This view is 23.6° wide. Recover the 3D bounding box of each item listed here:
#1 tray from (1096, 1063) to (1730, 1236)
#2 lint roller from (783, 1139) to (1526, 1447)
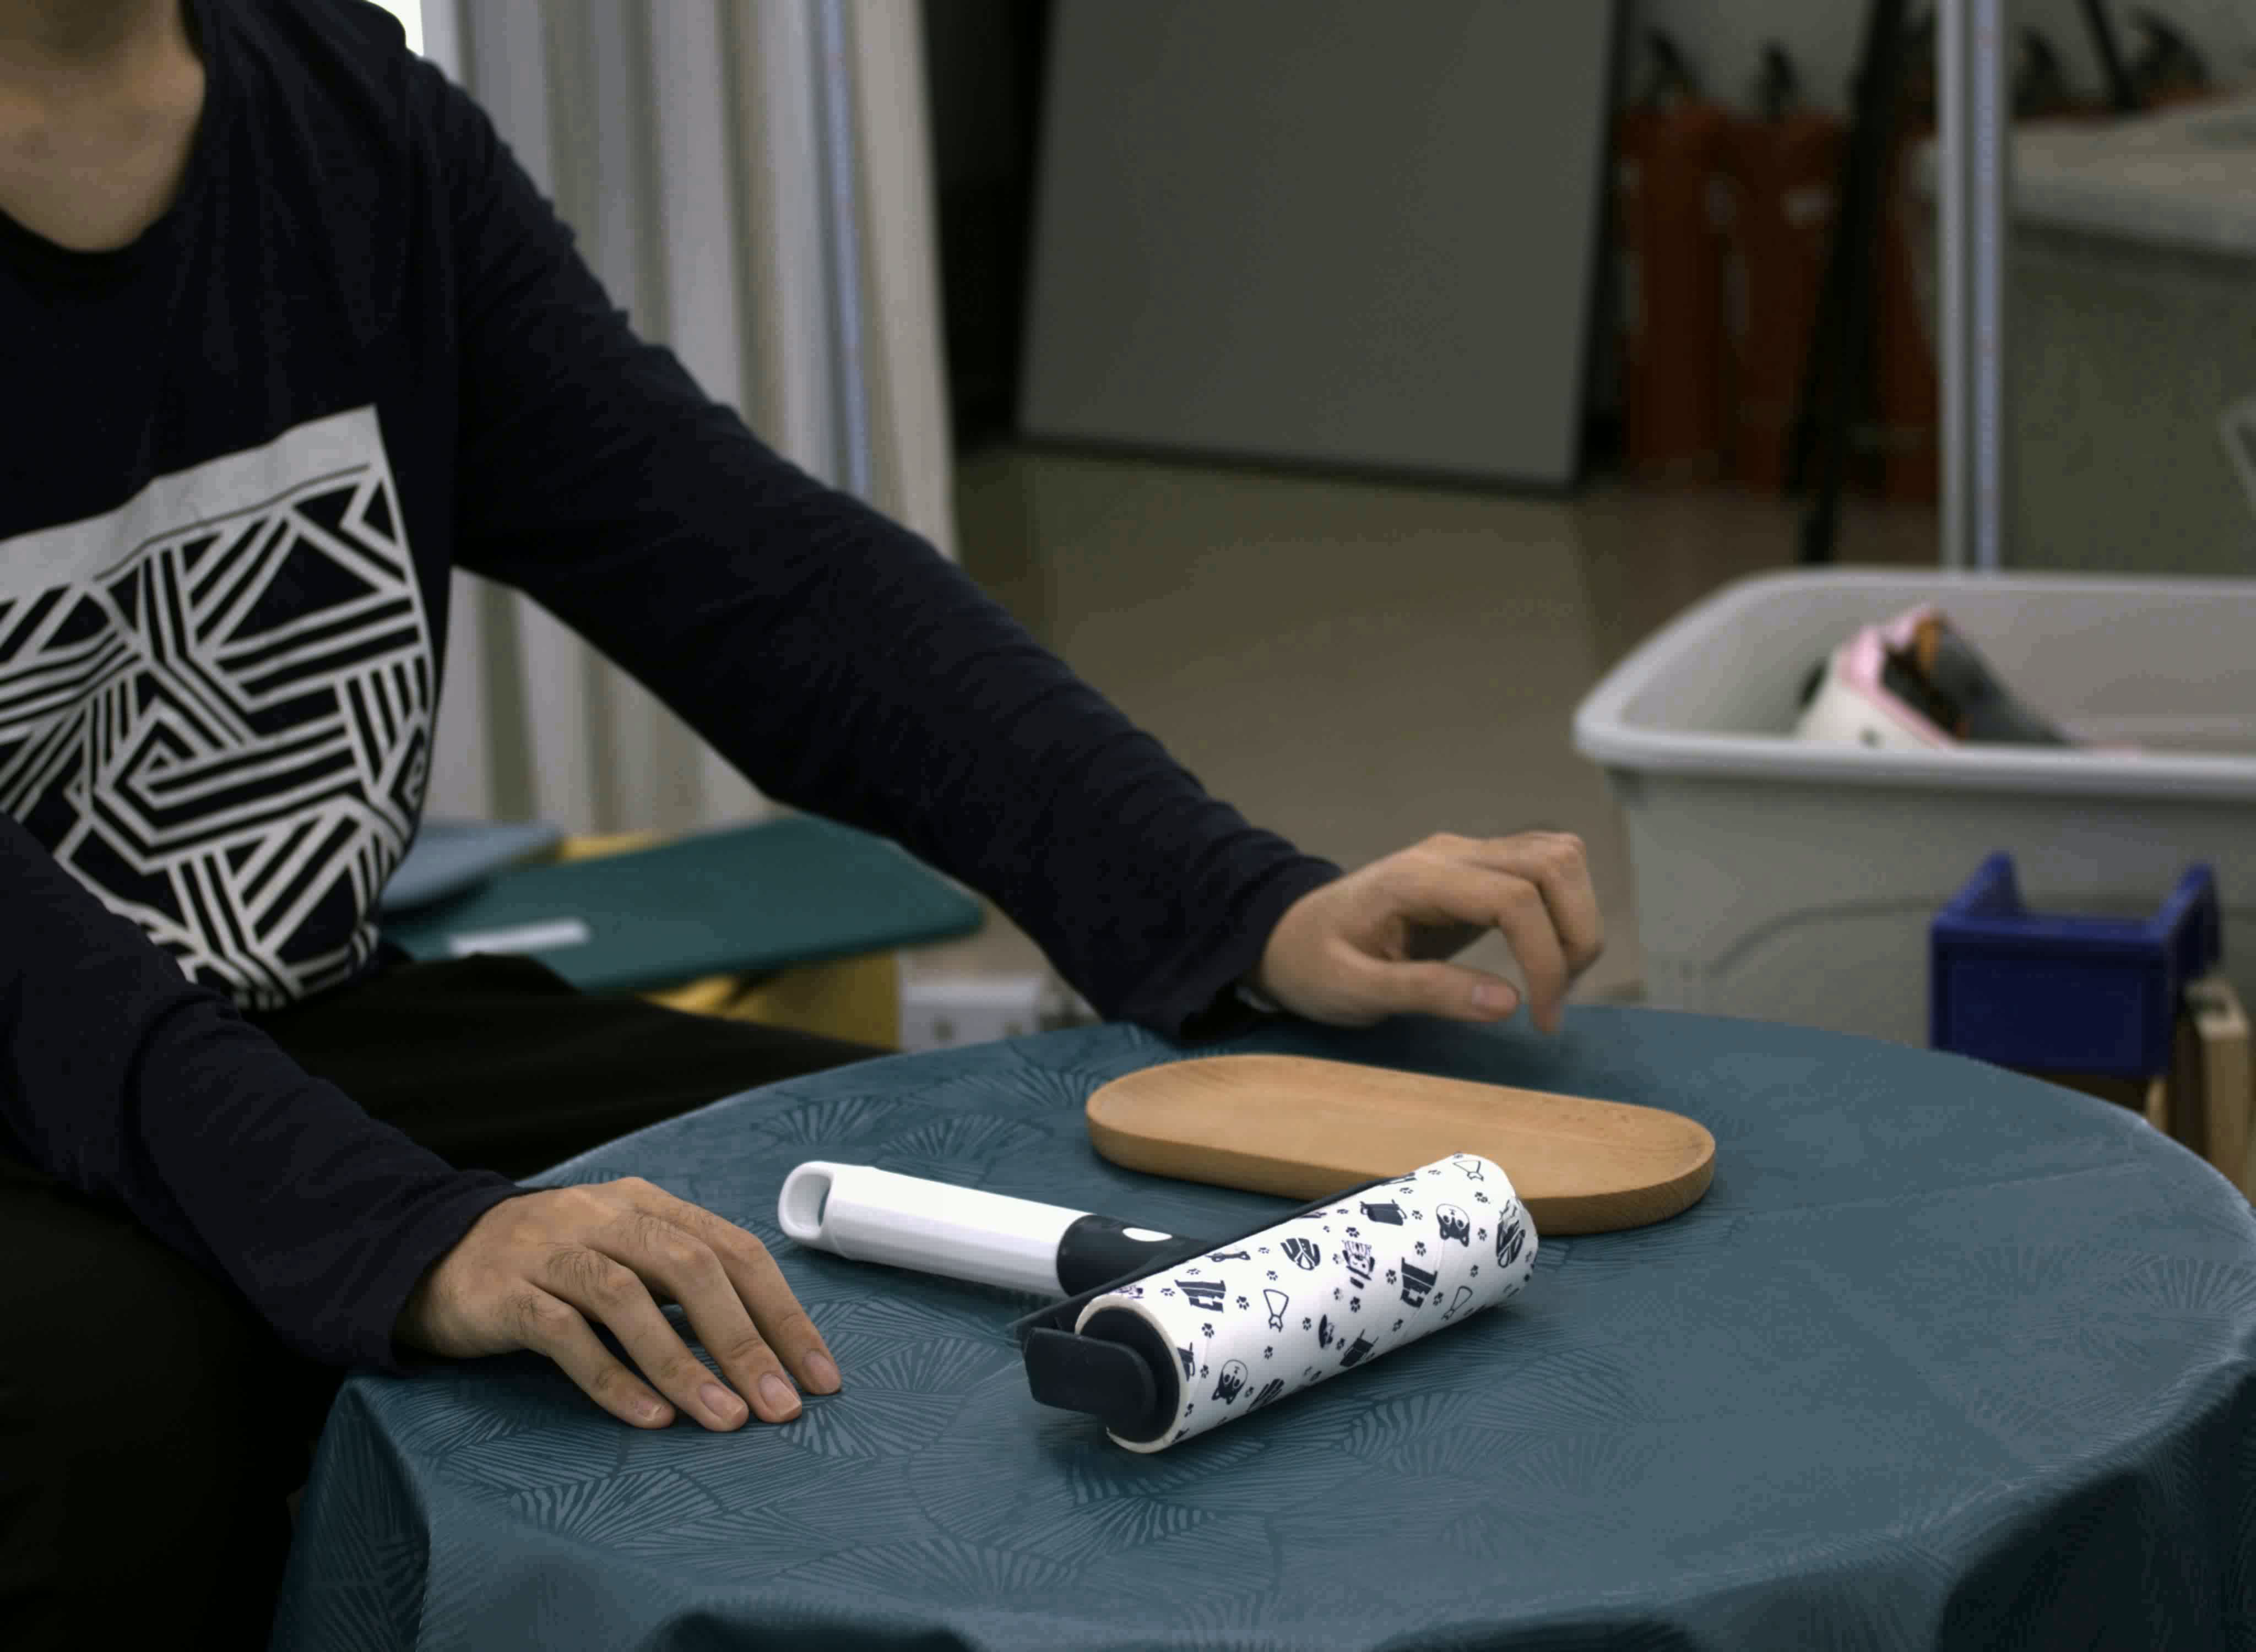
[{"bbox_3d":[0.092,0.106,1.778,0.232,0.020,0.100,7,19,36],"label":"tray"},{"bbox_3d":[-0.021,0.132,1.655,0.249,0.051,0.173,4,16,44],"label":"lint roller"}]
